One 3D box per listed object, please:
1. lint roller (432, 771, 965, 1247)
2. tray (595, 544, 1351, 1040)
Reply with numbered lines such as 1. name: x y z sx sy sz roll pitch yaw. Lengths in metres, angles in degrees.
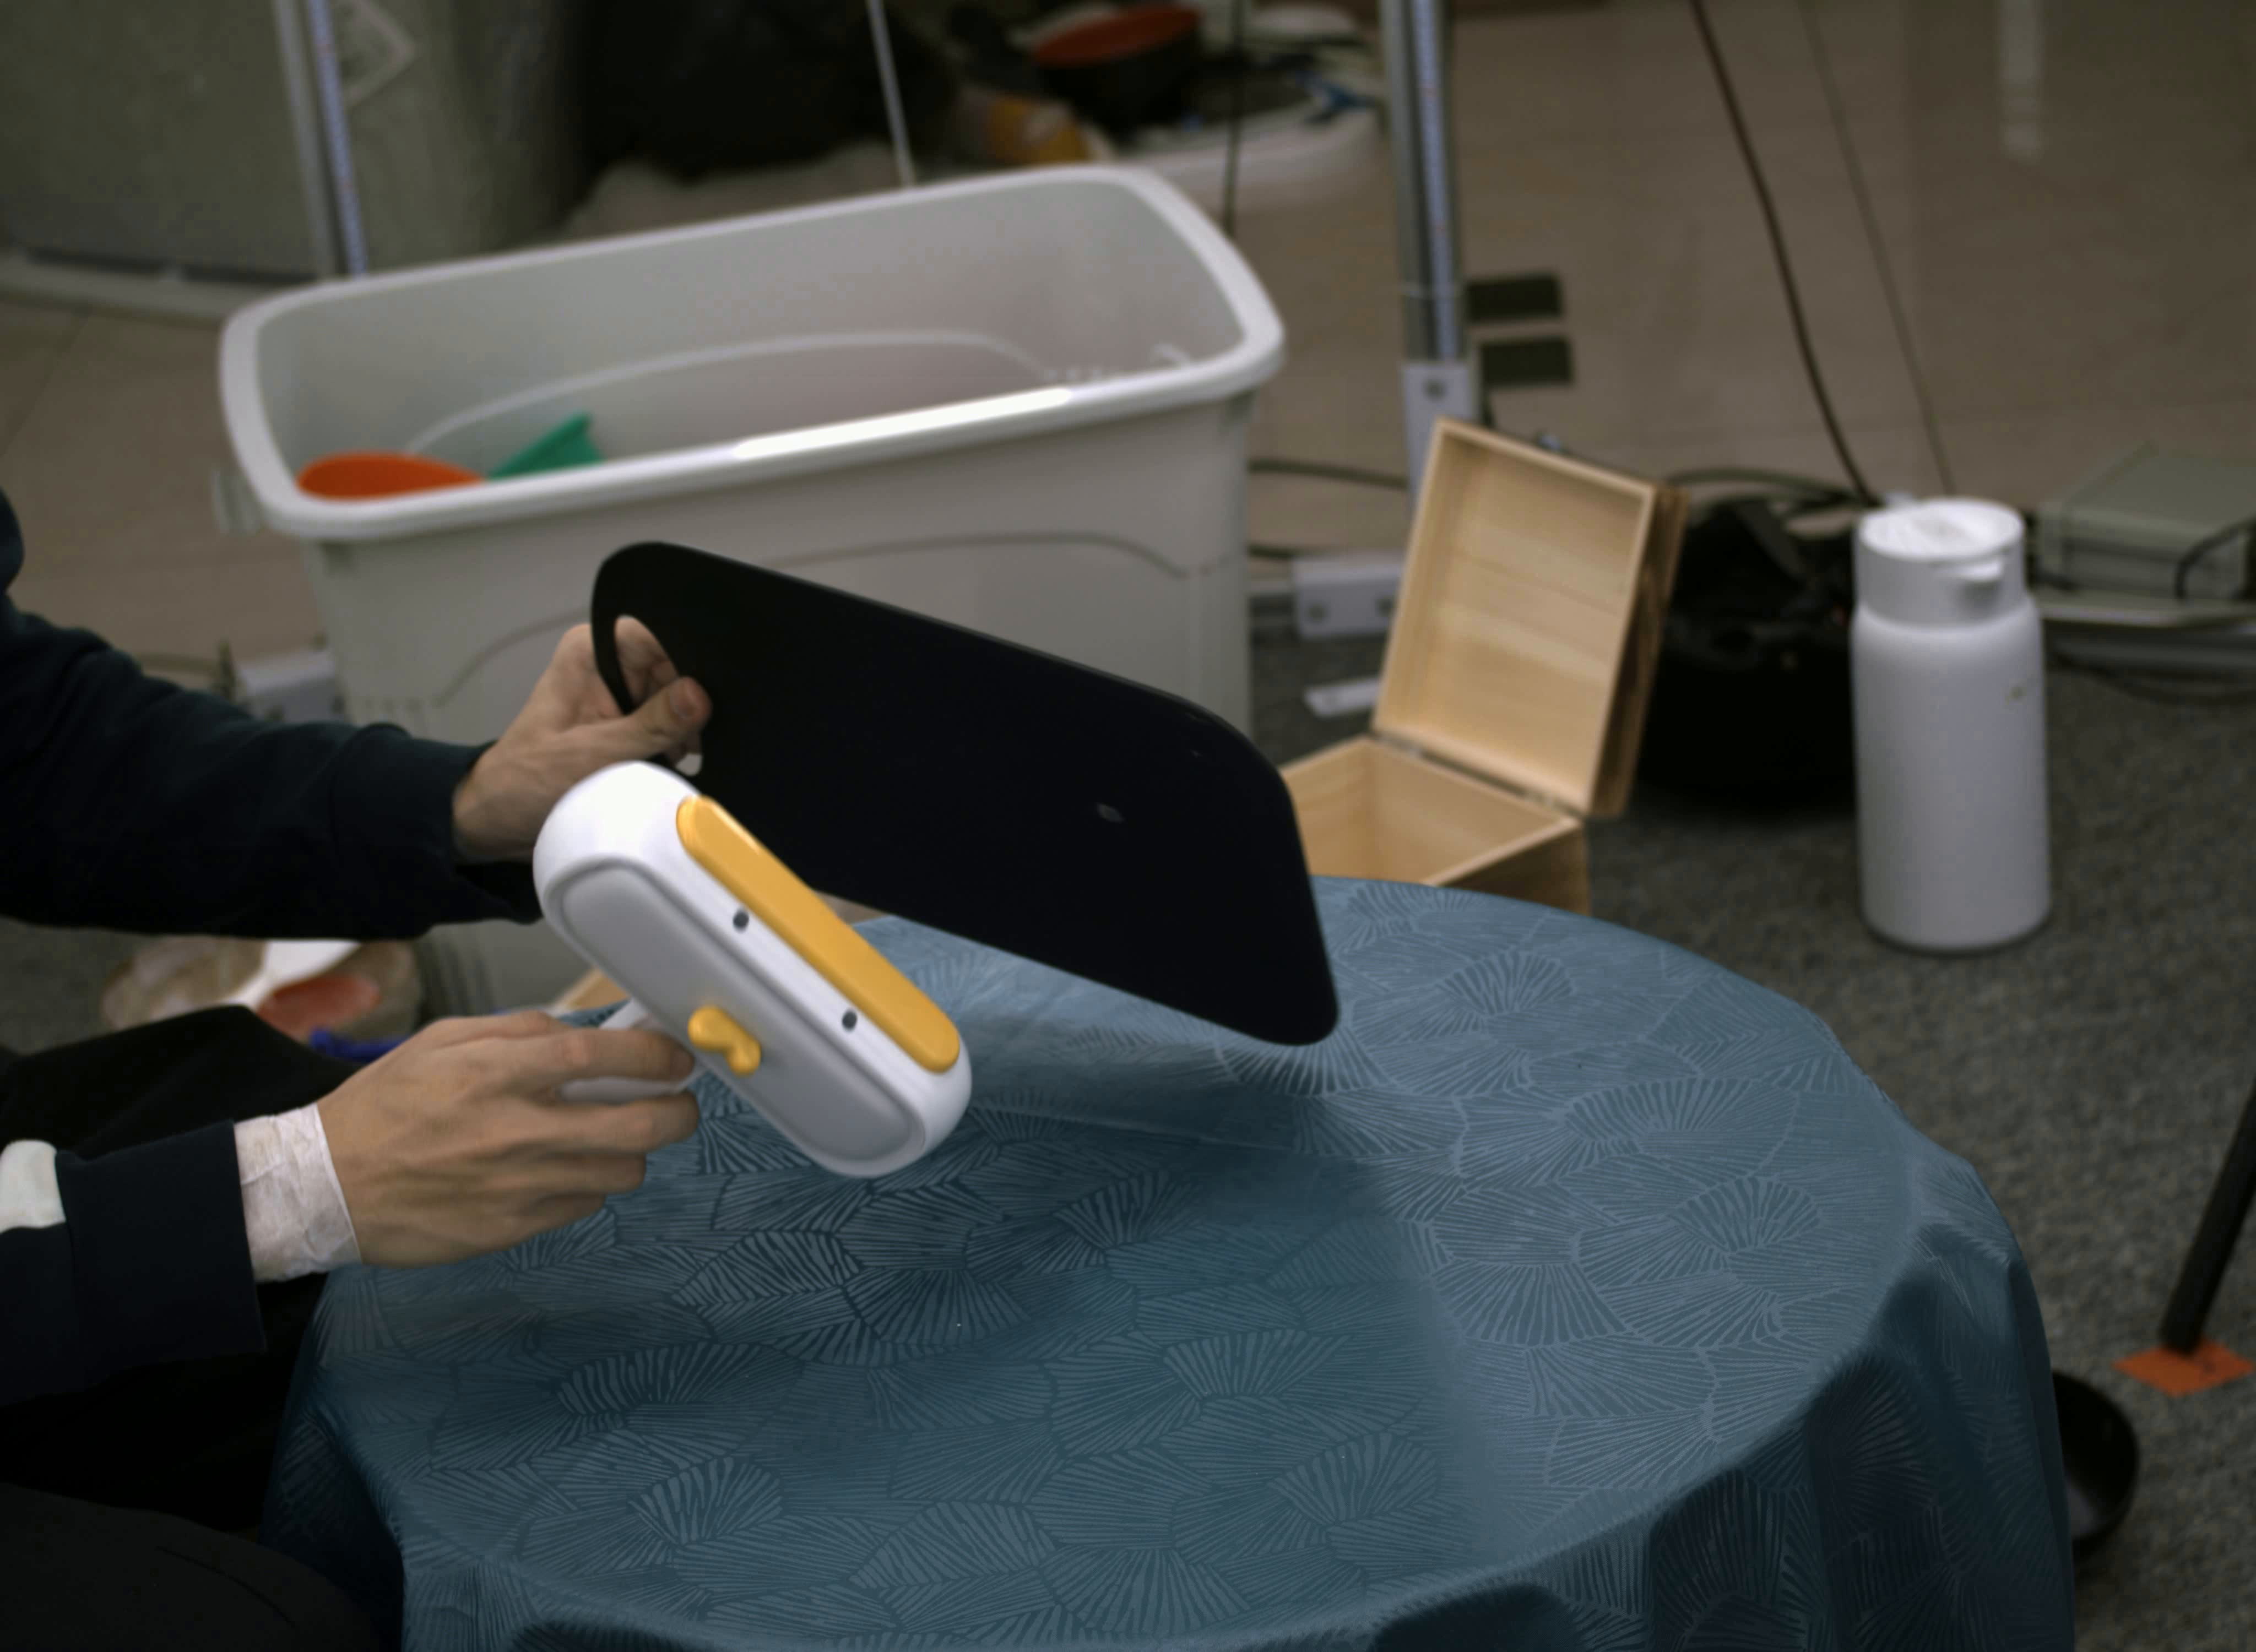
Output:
1. lint roller: -0.181 0.086 2.067 0.194 0.194 0.073 -34 34 32
2. tray: -0.065 -0.016 2.200 0.323 0.215 0.009 17 58 24
